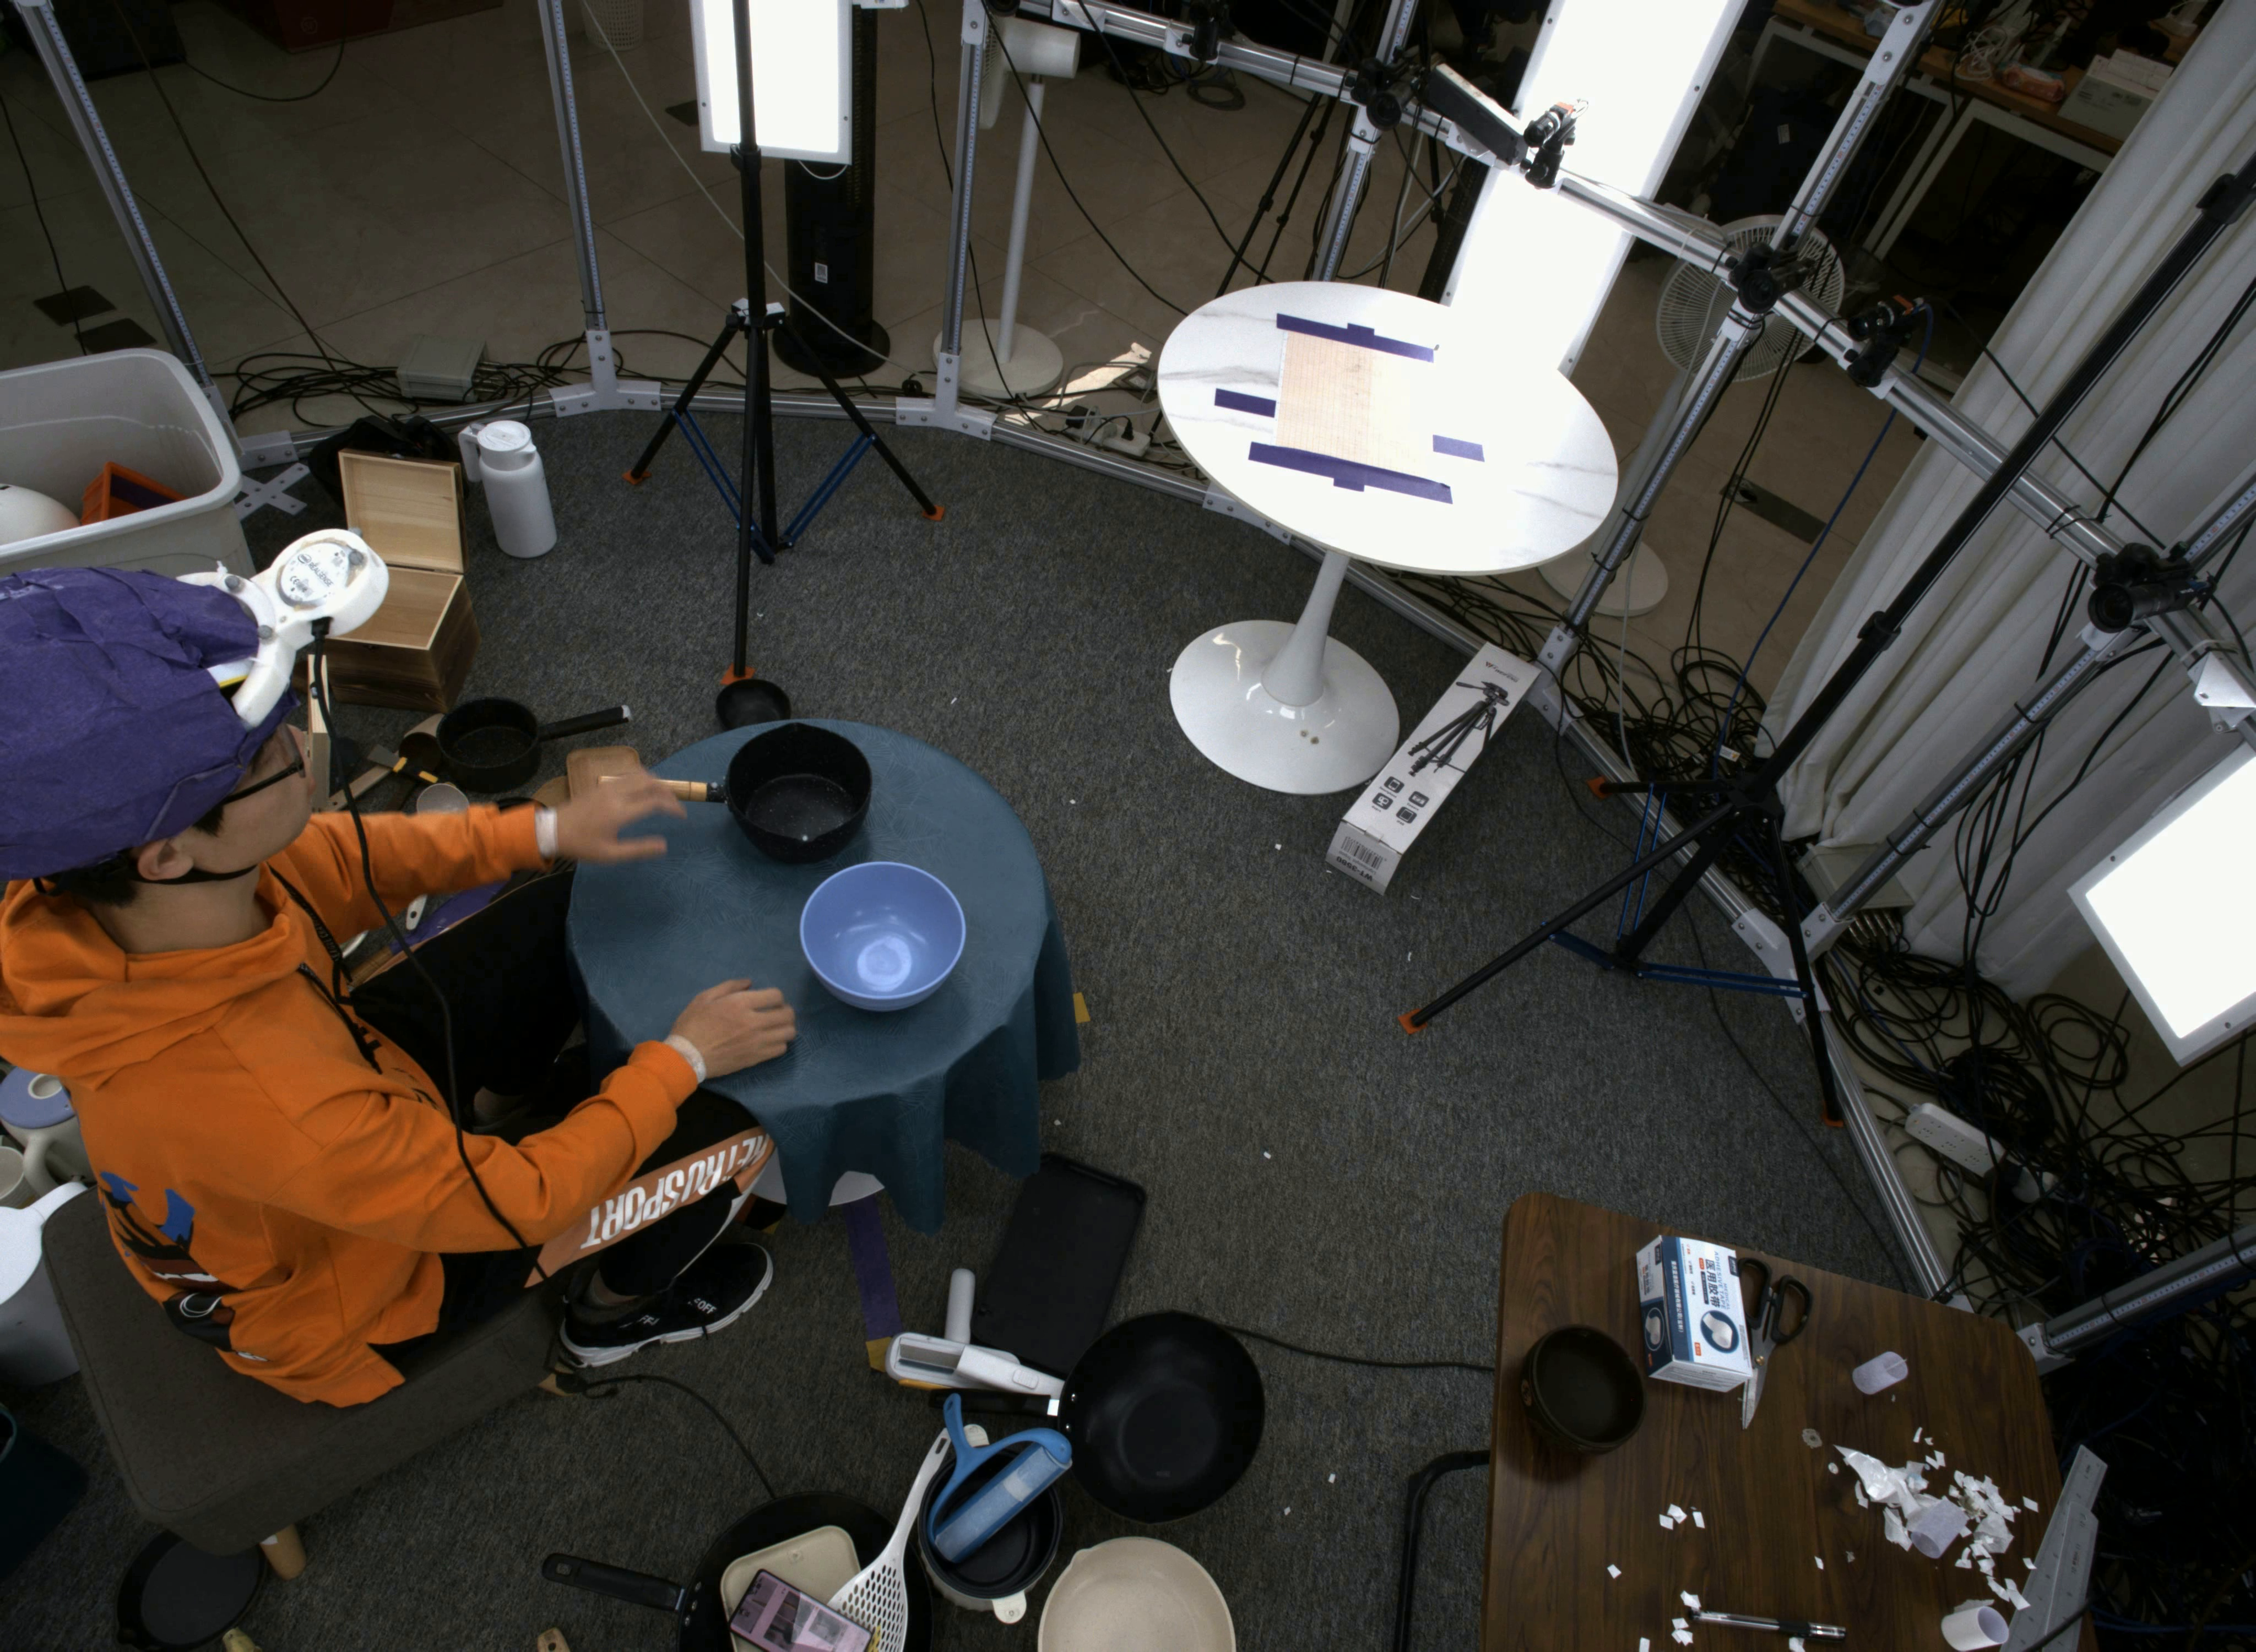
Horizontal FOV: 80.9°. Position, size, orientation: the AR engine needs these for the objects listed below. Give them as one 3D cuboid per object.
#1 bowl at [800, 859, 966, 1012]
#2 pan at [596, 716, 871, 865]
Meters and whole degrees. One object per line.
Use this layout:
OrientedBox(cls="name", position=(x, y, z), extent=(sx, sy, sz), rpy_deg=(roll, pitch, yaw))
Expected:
OrientedBox(cls="bowl", position=(-0.297, 0.146, 1.575), extent=(0.196, 0.097, 0.193), rpy_deg=(9, 52, -9))
OrientedBox(cls="pan", position=(-0.502, -0.037, 1.650), extent=(0.344, 0.110, 0.203), rpy_deg=(-5, 56, -20))
